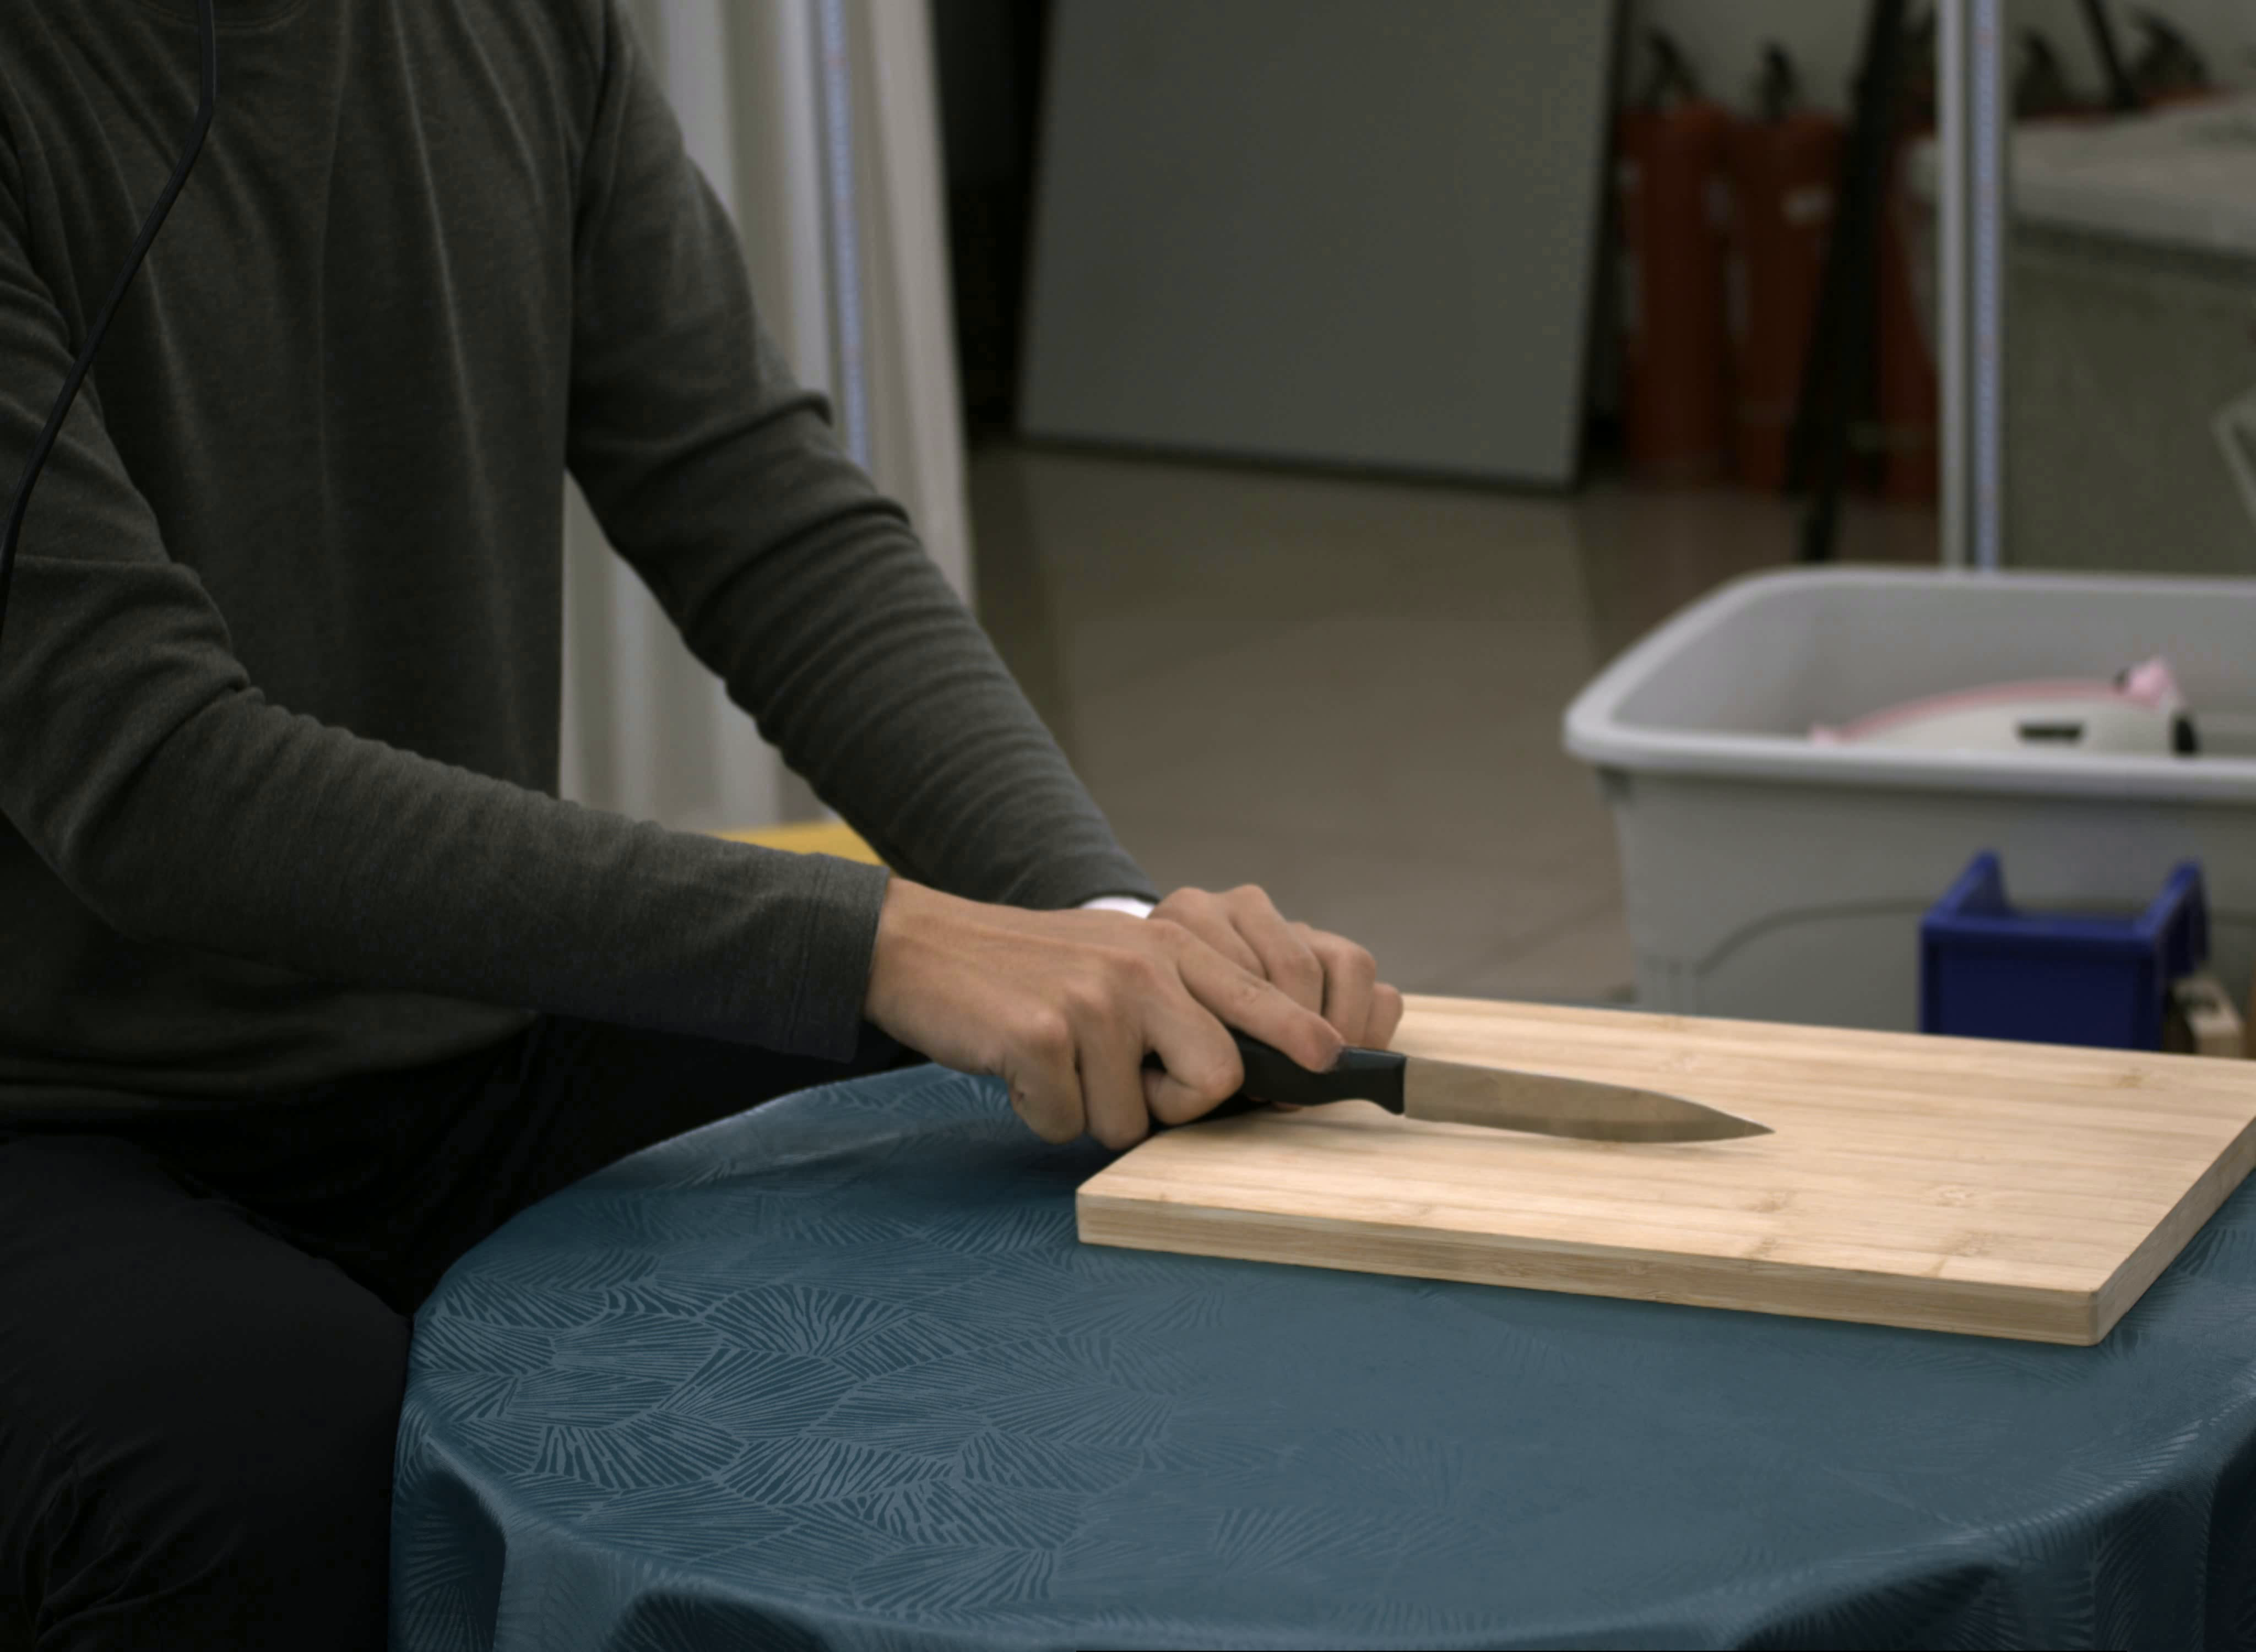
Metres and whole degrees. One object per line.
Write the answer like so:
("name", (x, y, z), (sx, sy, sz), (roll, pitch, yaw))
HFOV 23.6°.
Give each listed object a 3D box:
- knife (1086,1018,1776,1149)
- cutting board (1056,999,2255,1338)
("knife", (0.097, 0.085, 1.753), (0.238, 0.025, 0.016), (7, 21, 22))
("cutting board", (0.180, 0.107, 1.749), (0.349, 0.024, 0.247), (3, 14, 27))
